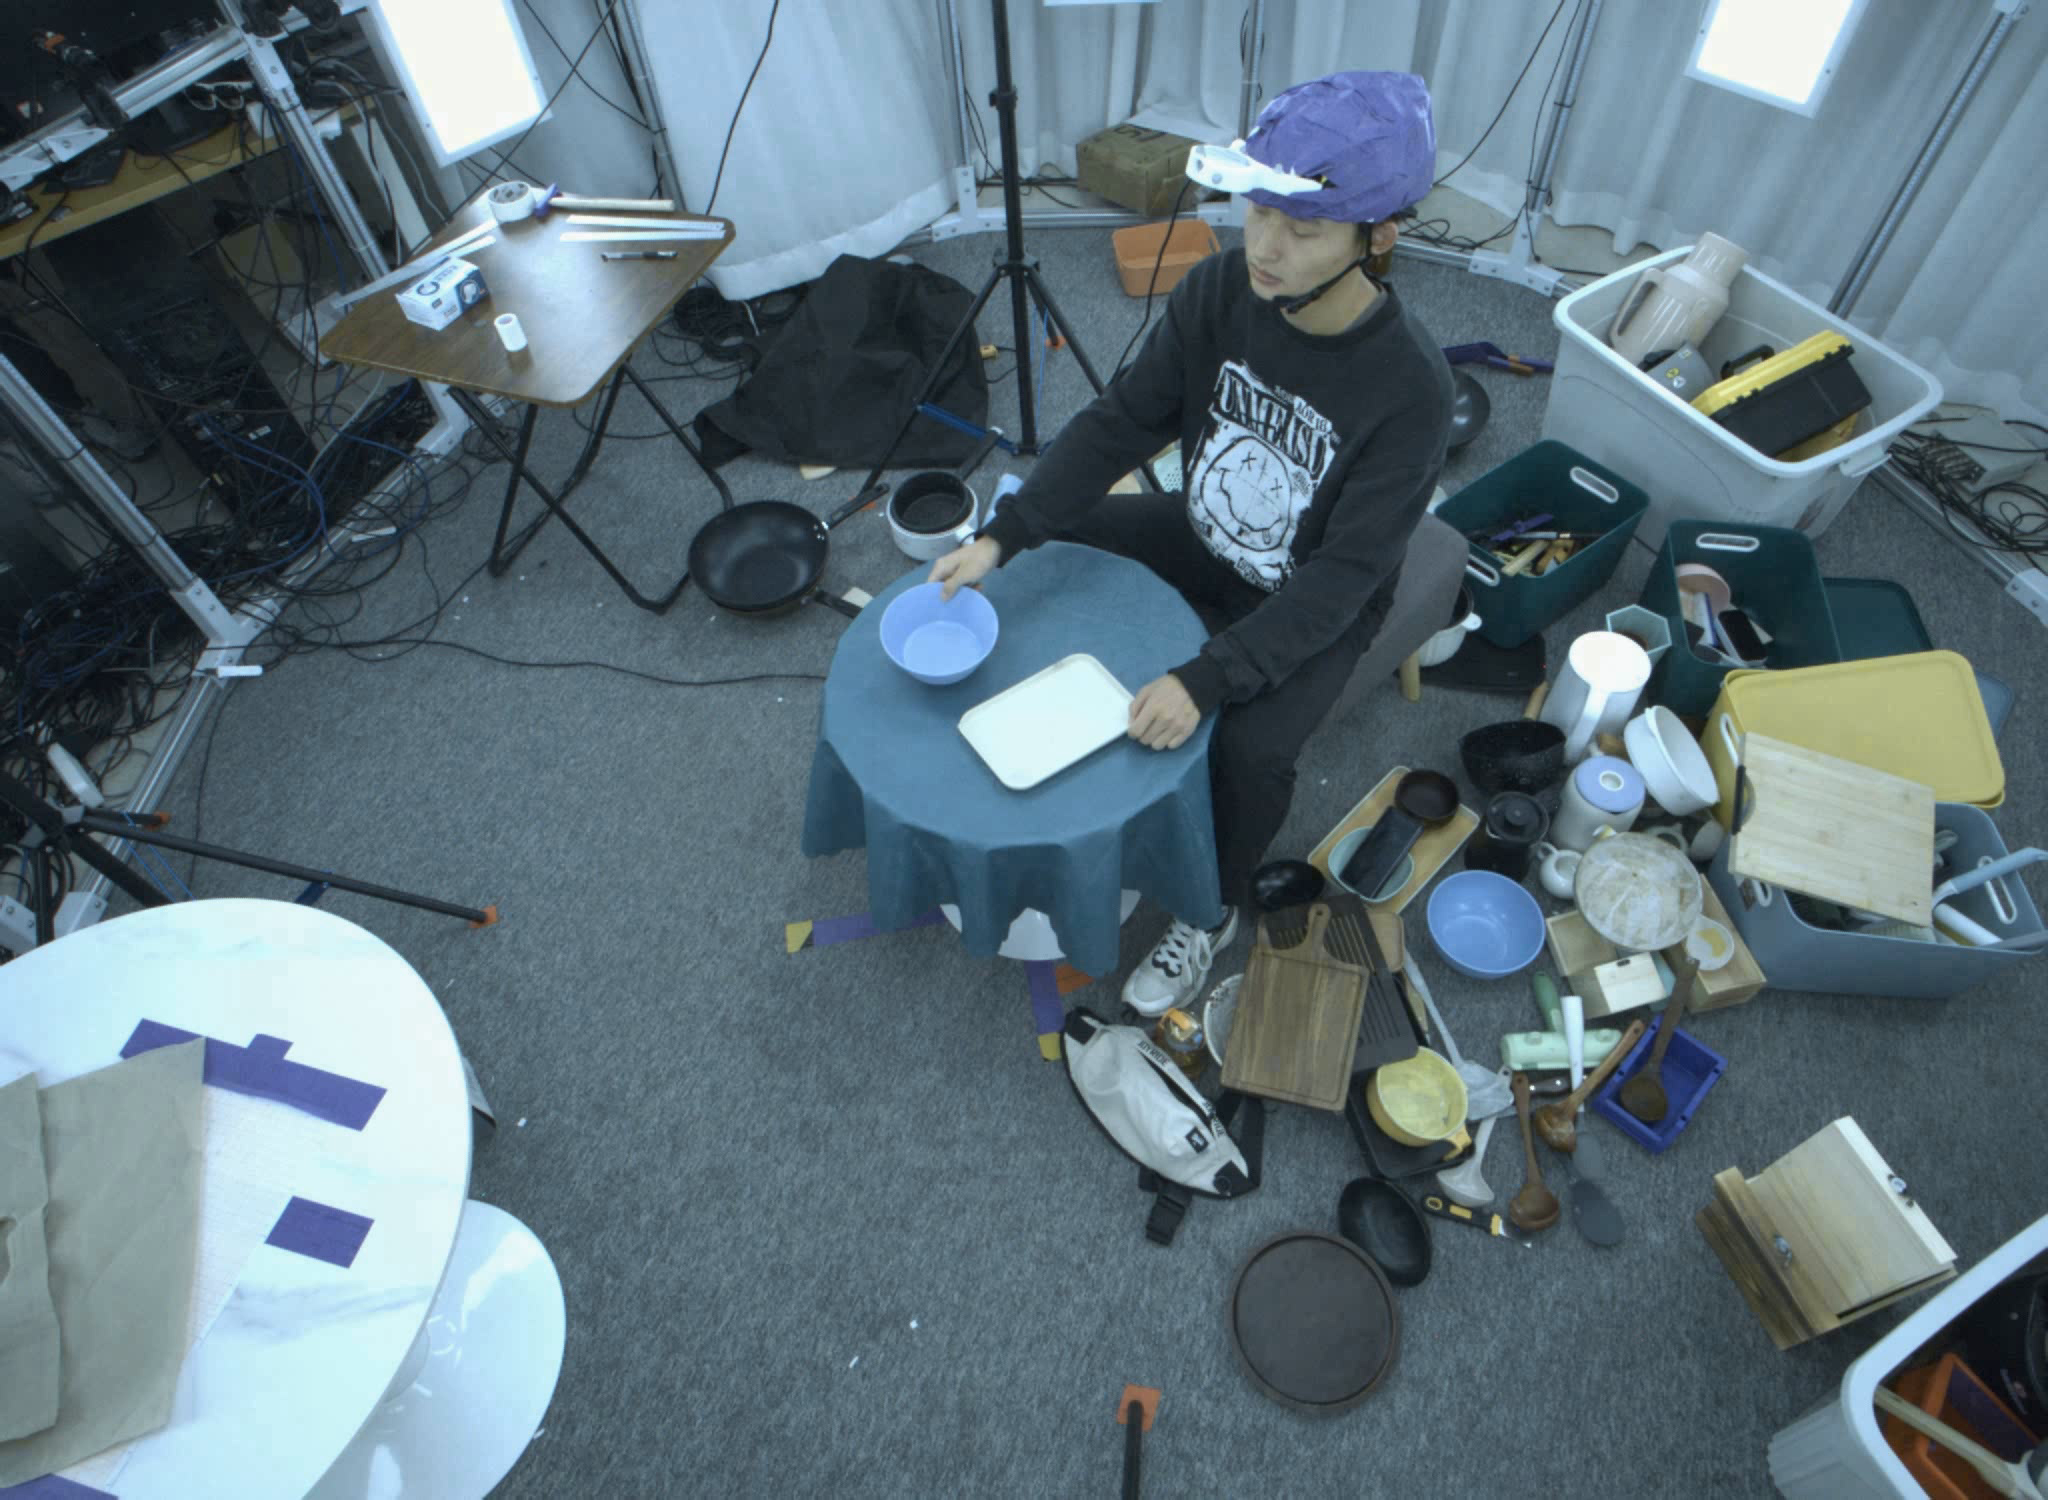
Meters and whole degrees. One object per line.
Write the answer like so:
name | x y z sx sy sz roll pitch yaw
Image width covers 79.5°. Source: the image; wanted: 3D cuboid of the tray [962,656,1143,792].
tray | 0.042 -0.039 1.809 0.241 0.018 0.168 -29 57 -18

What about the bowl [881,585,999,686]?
bowl | -0.126 -0.162 1.848 0.176 0.071 0.174 1 59 -1
